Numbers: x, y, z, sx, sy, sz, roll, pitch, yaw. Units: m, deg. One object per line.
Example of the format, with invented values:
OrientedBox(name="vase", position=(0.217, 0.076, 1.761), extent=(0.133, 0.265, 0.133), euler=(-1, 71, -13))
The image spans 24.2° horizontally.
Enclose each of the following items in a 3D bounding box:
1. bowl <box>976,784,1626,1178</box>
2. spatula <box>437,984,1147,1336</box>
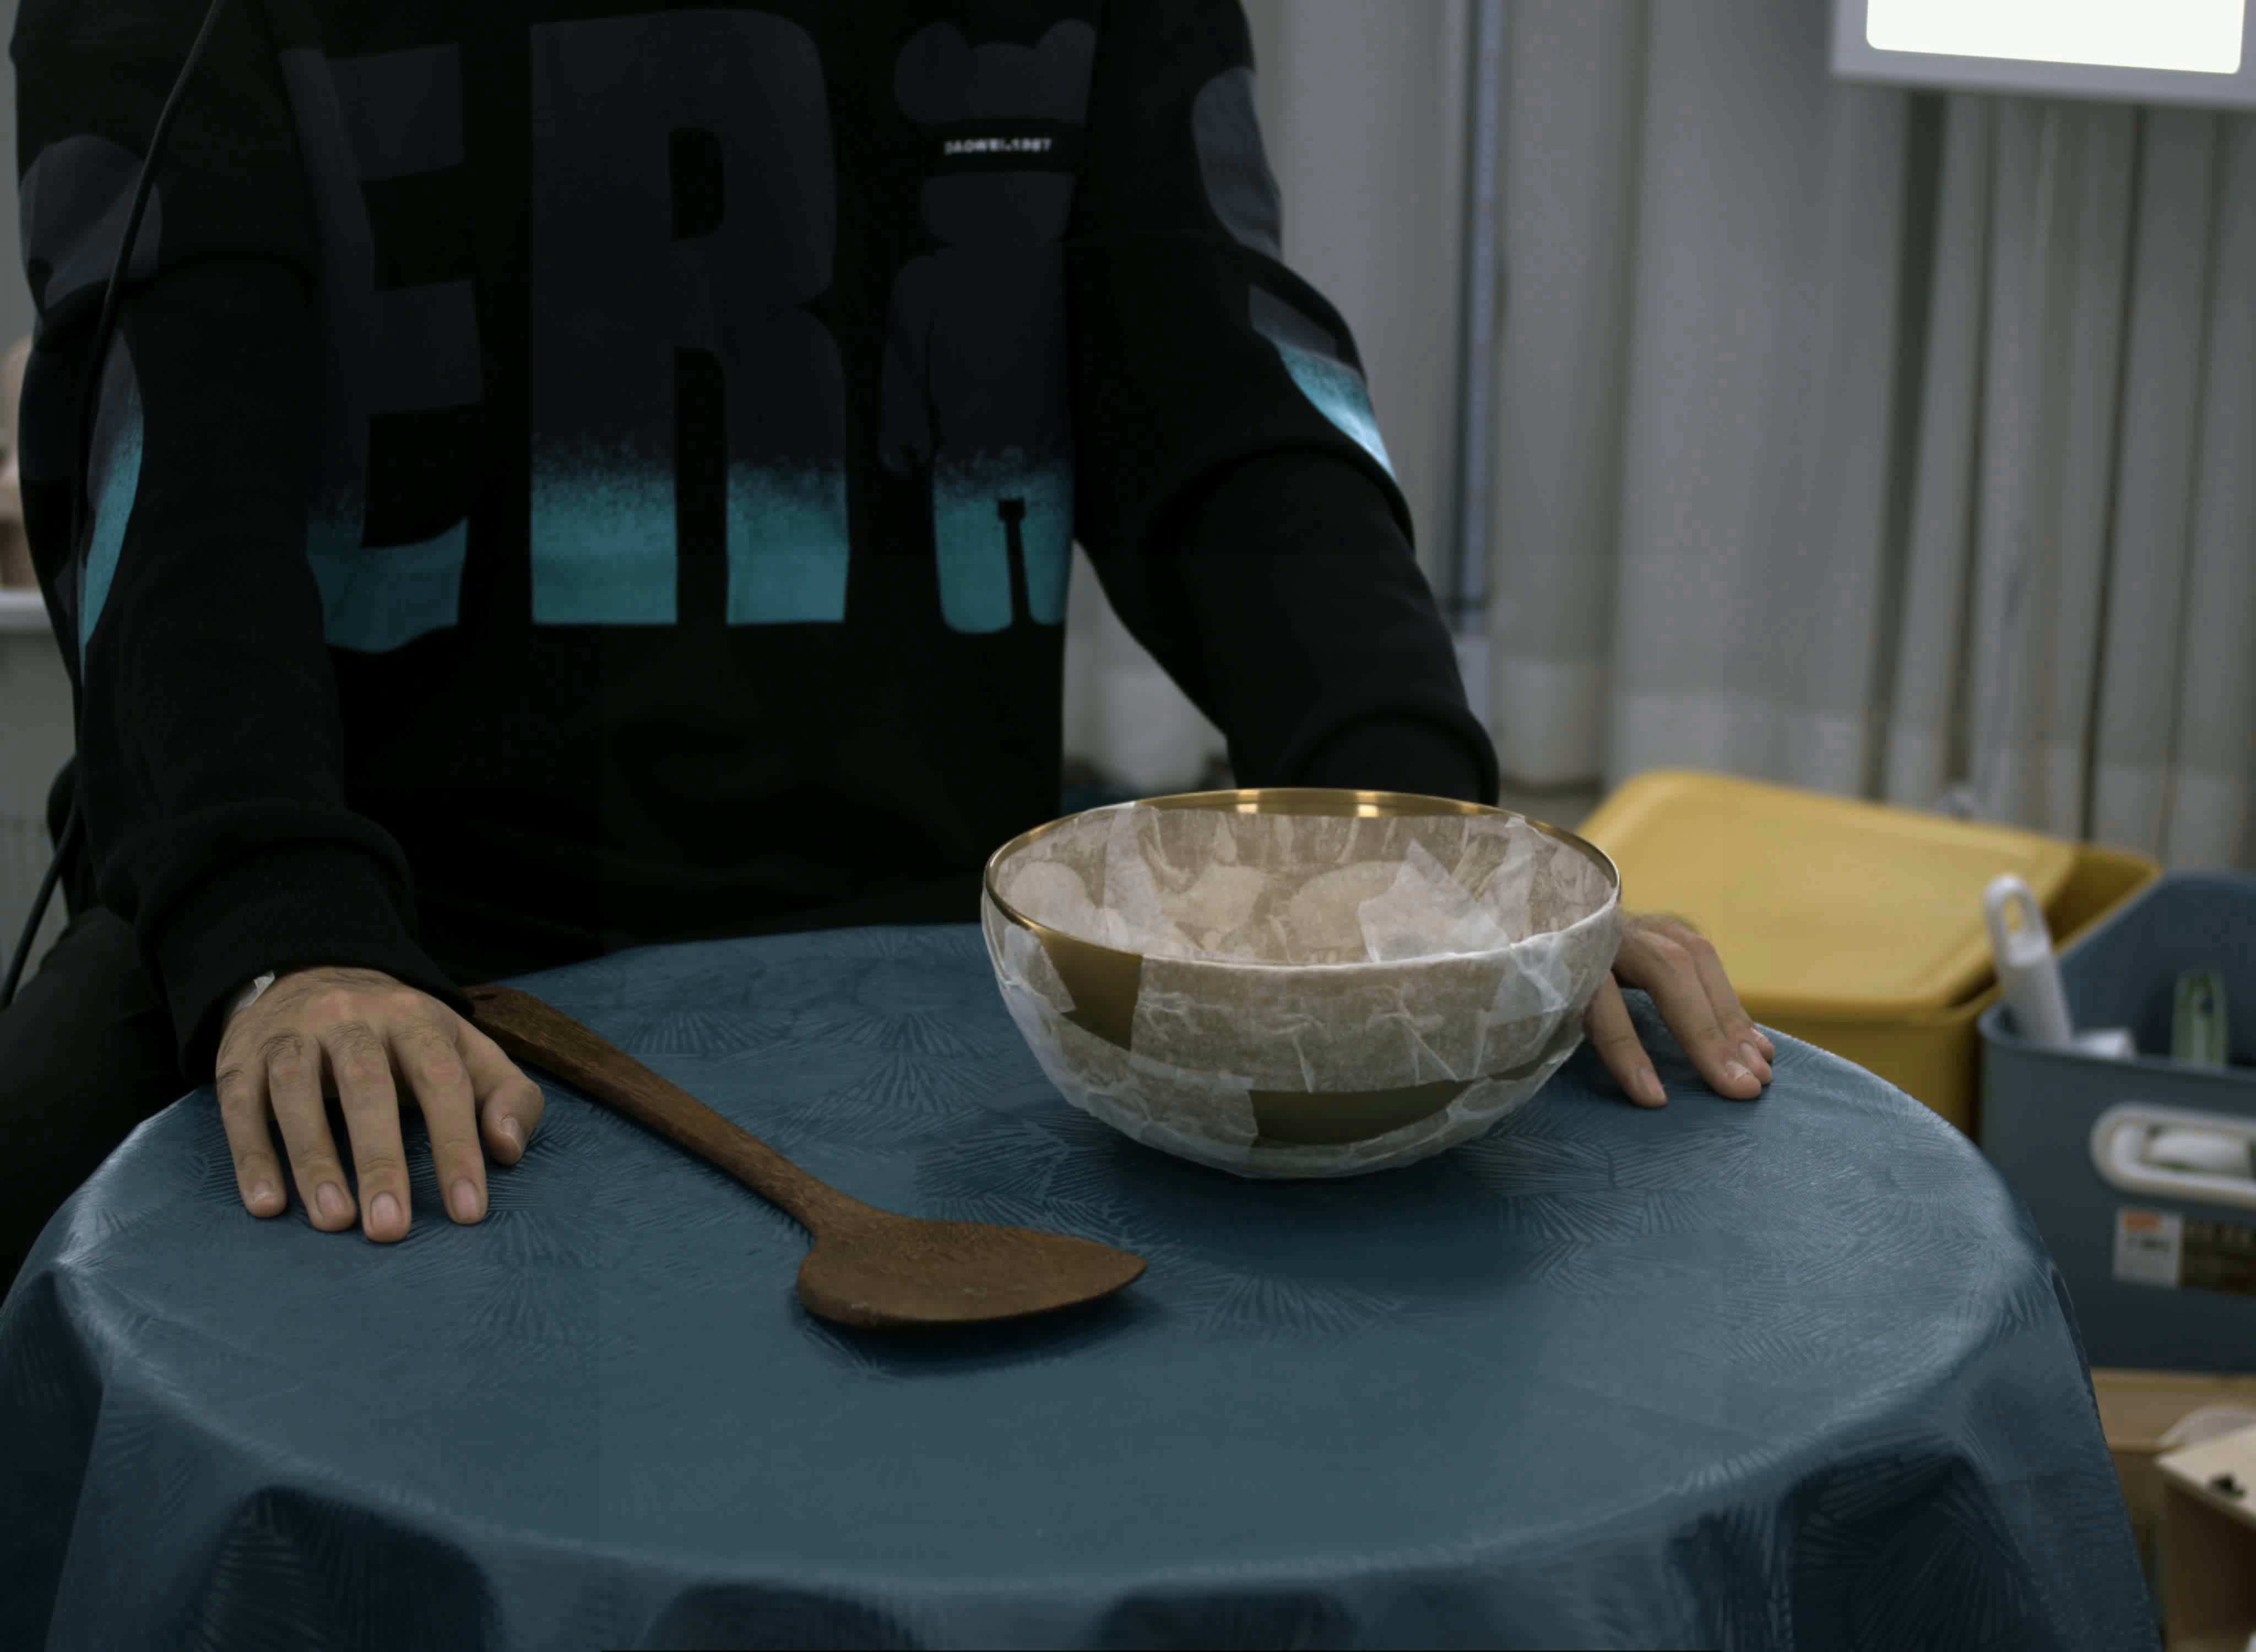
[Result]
OrientedBox(name="bowl", position=(0.056, 0.056, 1.658), extent=(0.214, 0.095, 0.213), euler=(-1, 15, 1))
OrientedBox(name="spatula", position=(-0.127, 0.099, 1.646), extent=(0.096, 0.016, 0.381), euler=(-9, 18, -32))
